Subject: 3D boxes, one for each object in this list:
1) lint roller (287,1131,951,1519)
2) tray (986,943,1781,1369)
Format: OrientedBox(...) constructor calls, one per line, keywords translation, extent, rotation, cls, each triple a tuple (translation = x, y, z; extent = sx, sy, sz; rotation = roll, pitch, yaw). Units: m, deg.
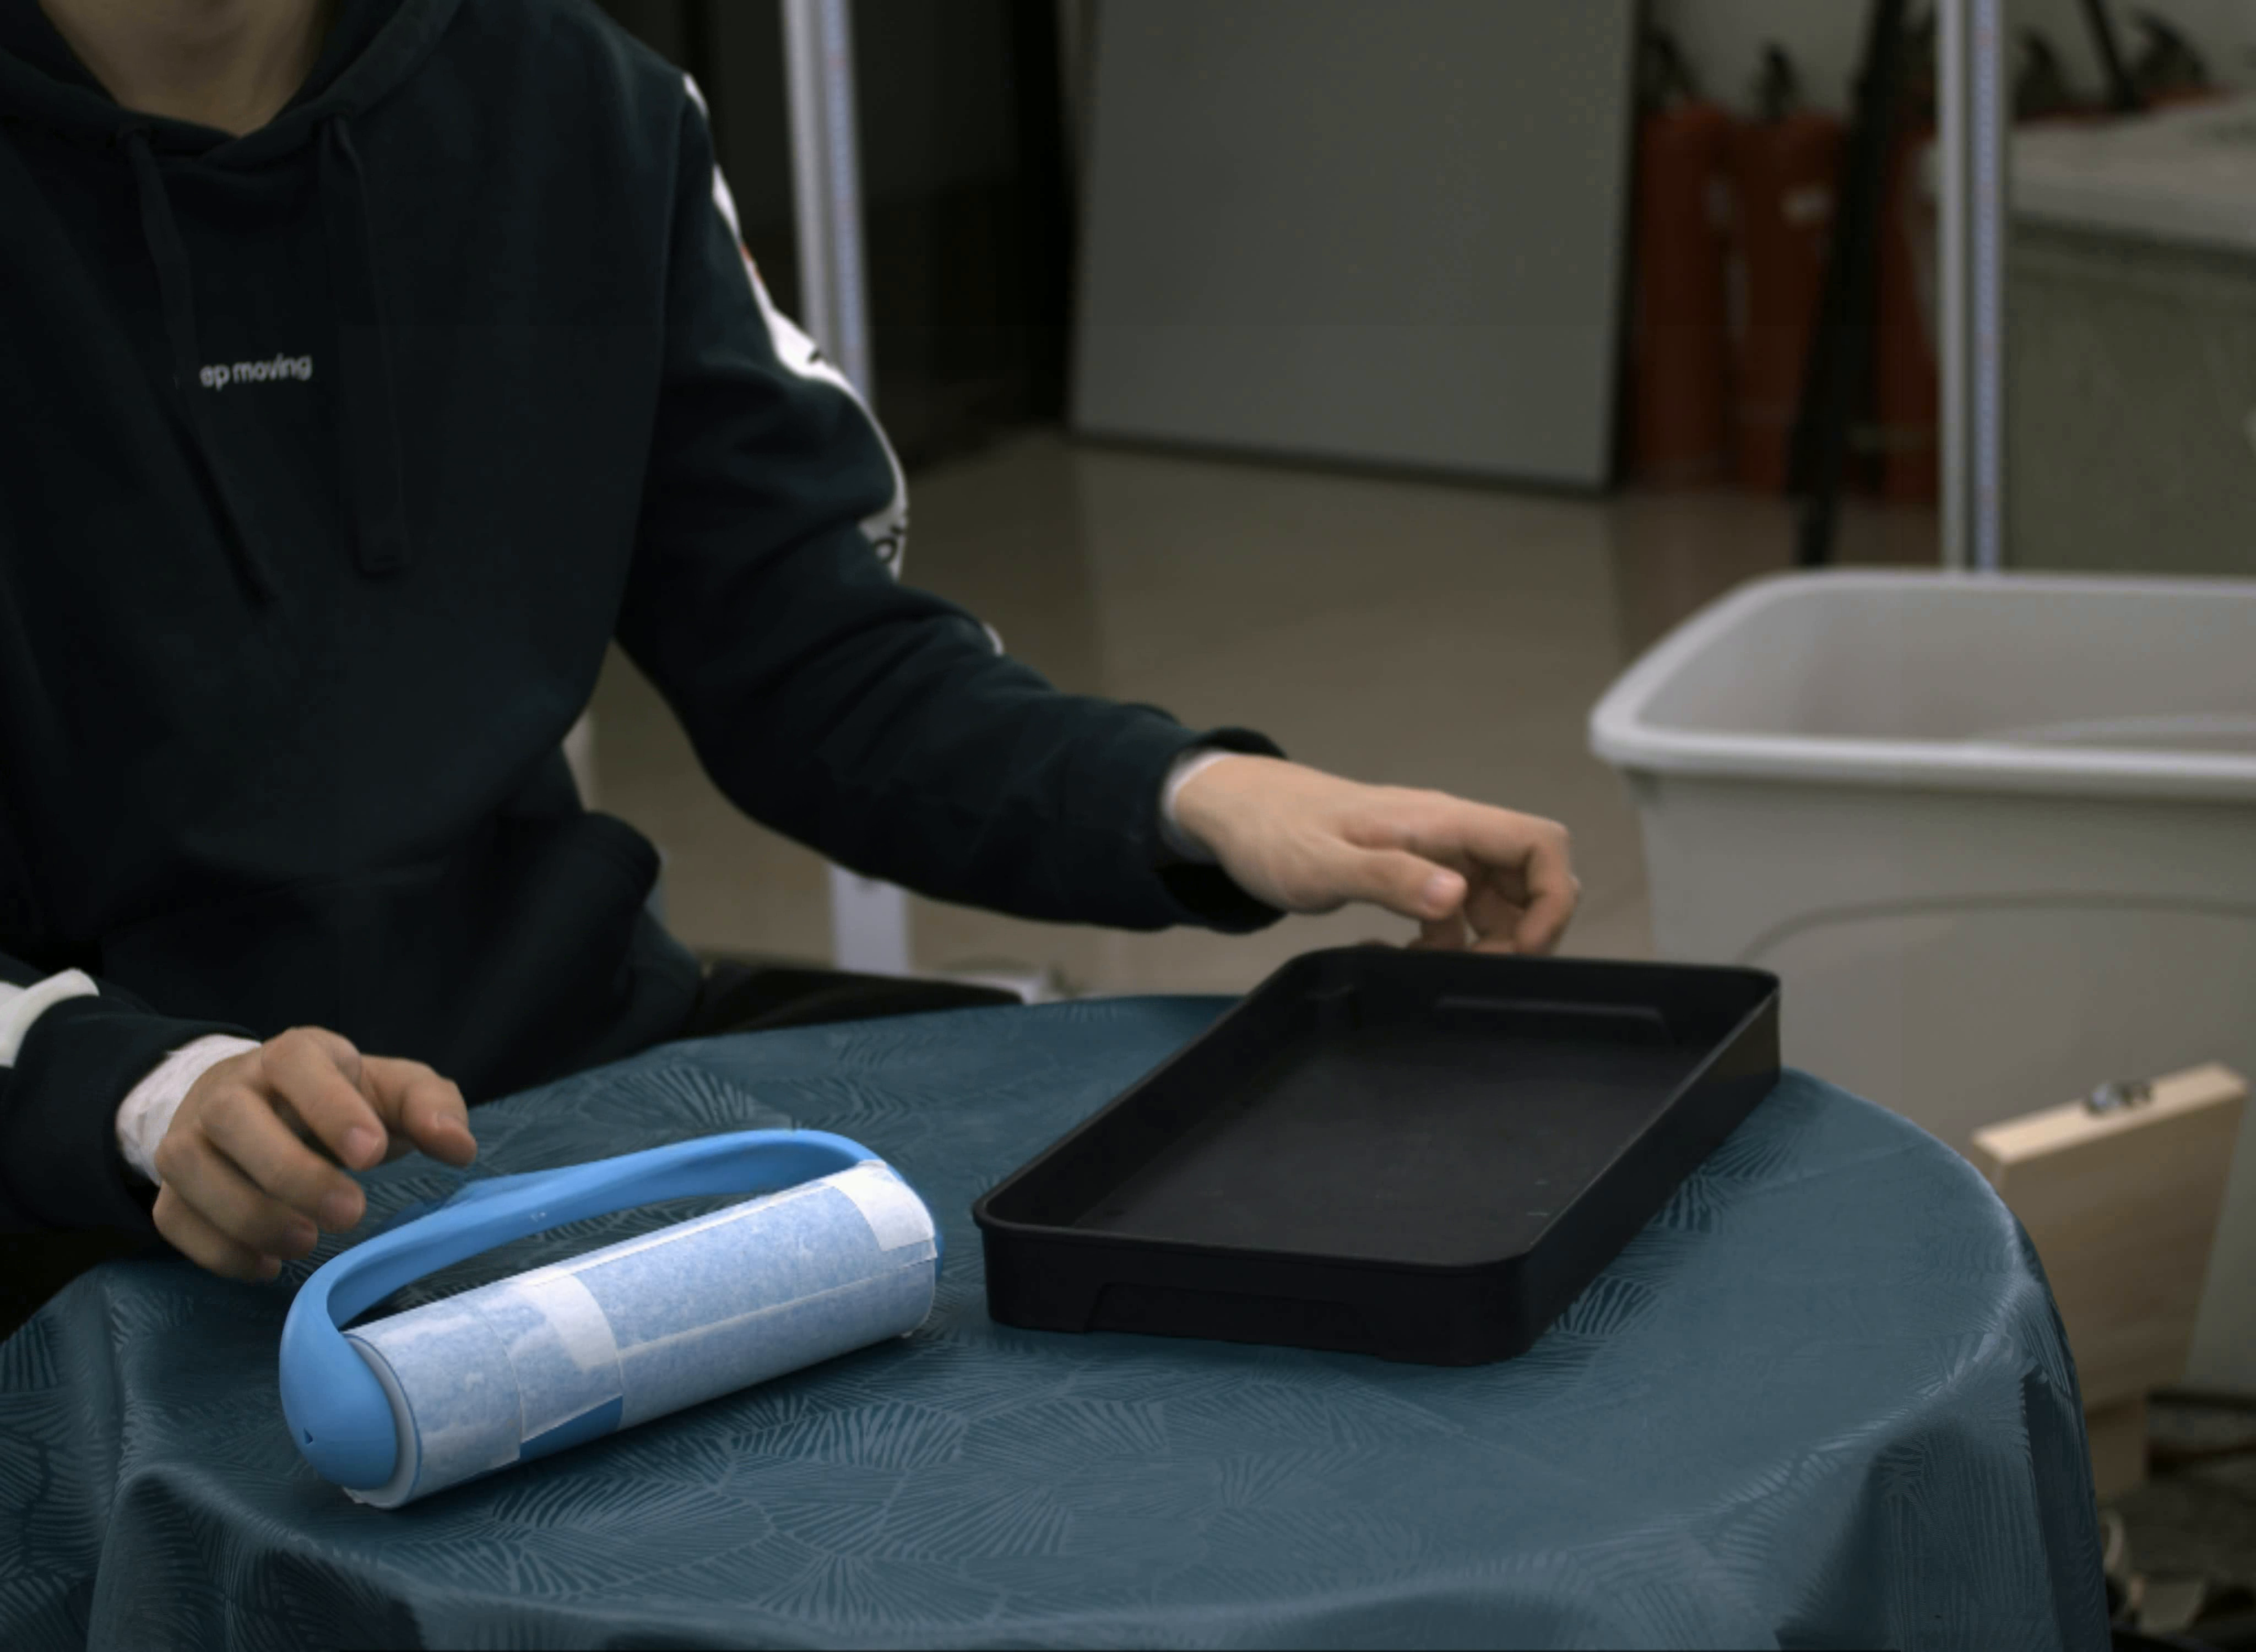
OrientedBox(translation=(-0.184, 0.139, 1.631), extent=(0.224, 0.068, 0.182), rotation=(-19, 21, -40), cls="lint roller")
OrientedBox(translation=(0.092, 0.101, 1.754), extent=(0.184, 0.037, 0.314), rotation=(1, 16, 22), cls="tray")
